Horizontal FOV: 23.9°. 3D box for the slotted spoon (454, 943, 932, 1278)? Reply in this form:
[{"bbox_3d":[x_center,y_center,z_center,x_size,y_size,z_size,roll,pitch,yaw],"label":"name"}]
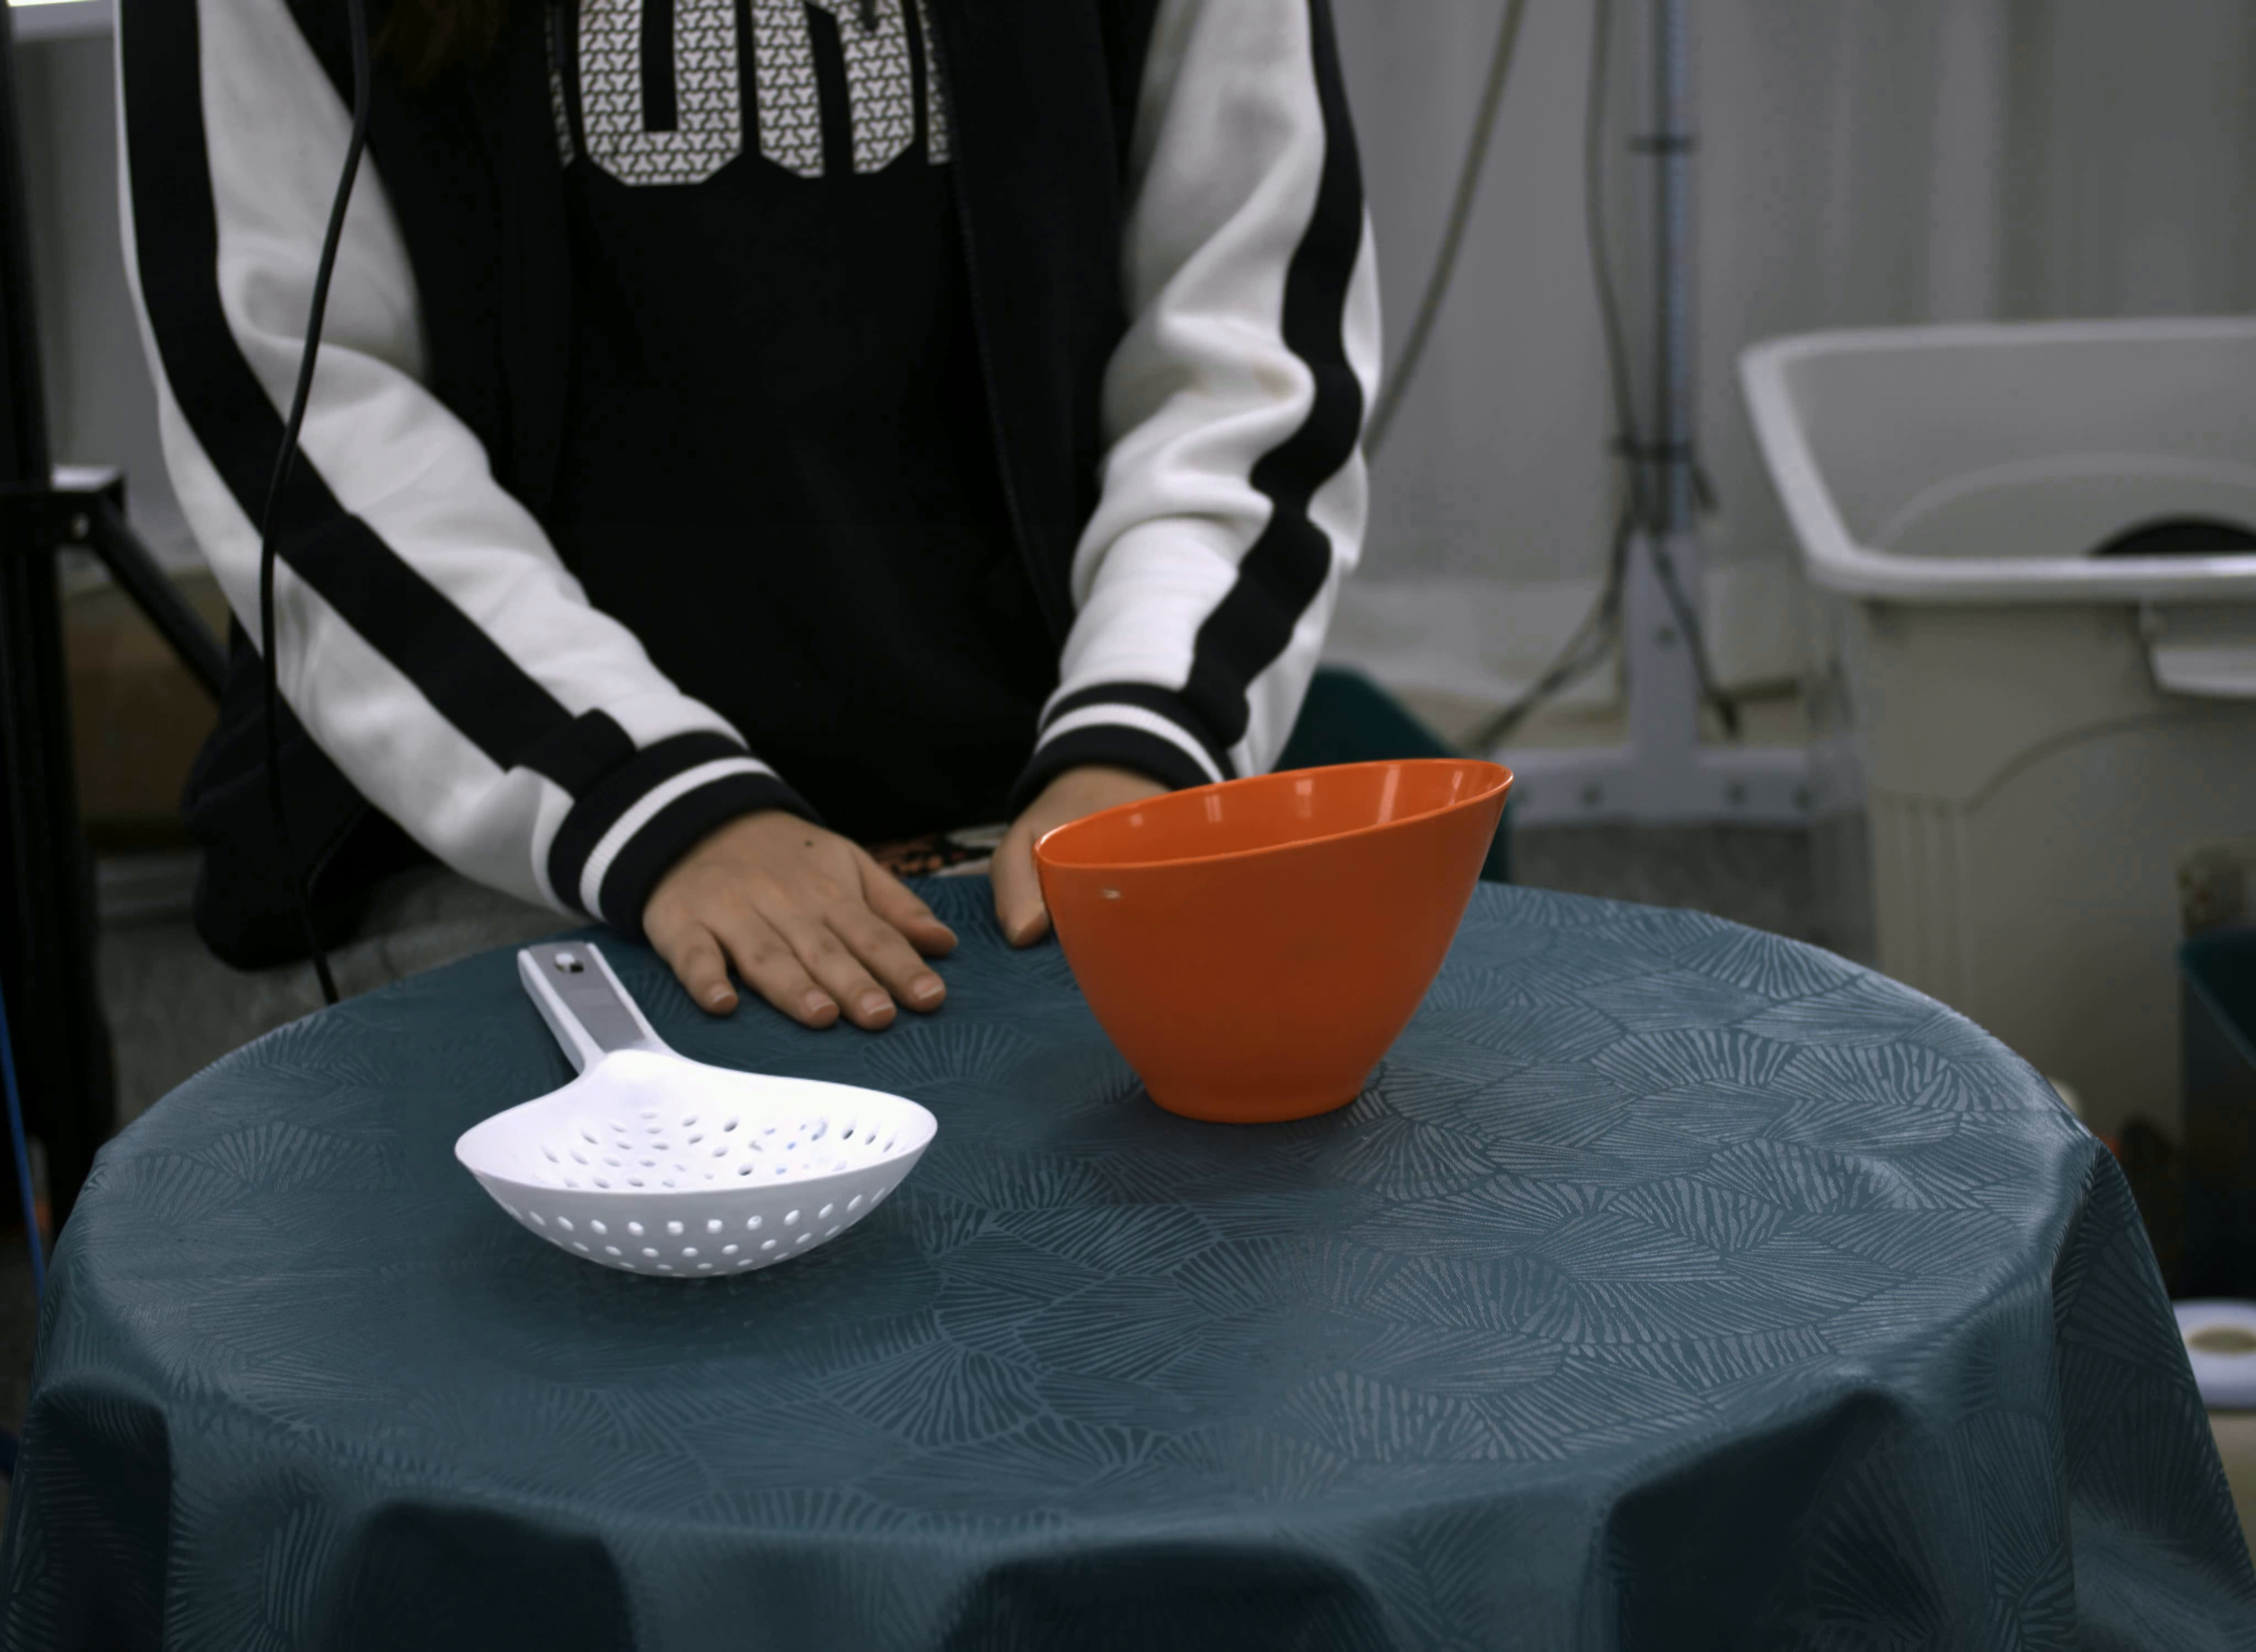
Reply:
[{"bbox_3d":[-0.148,0.076,1.611,0.134,0.046,0.354,-4,15,-13],"label":"slotted spoon"}]

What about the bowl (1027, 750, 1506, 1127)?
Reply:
[{"bbox_3d":[0.045,0.035,1.621,0.147,0.104,0.149,-5,17,0],"label":"bowl"}]
